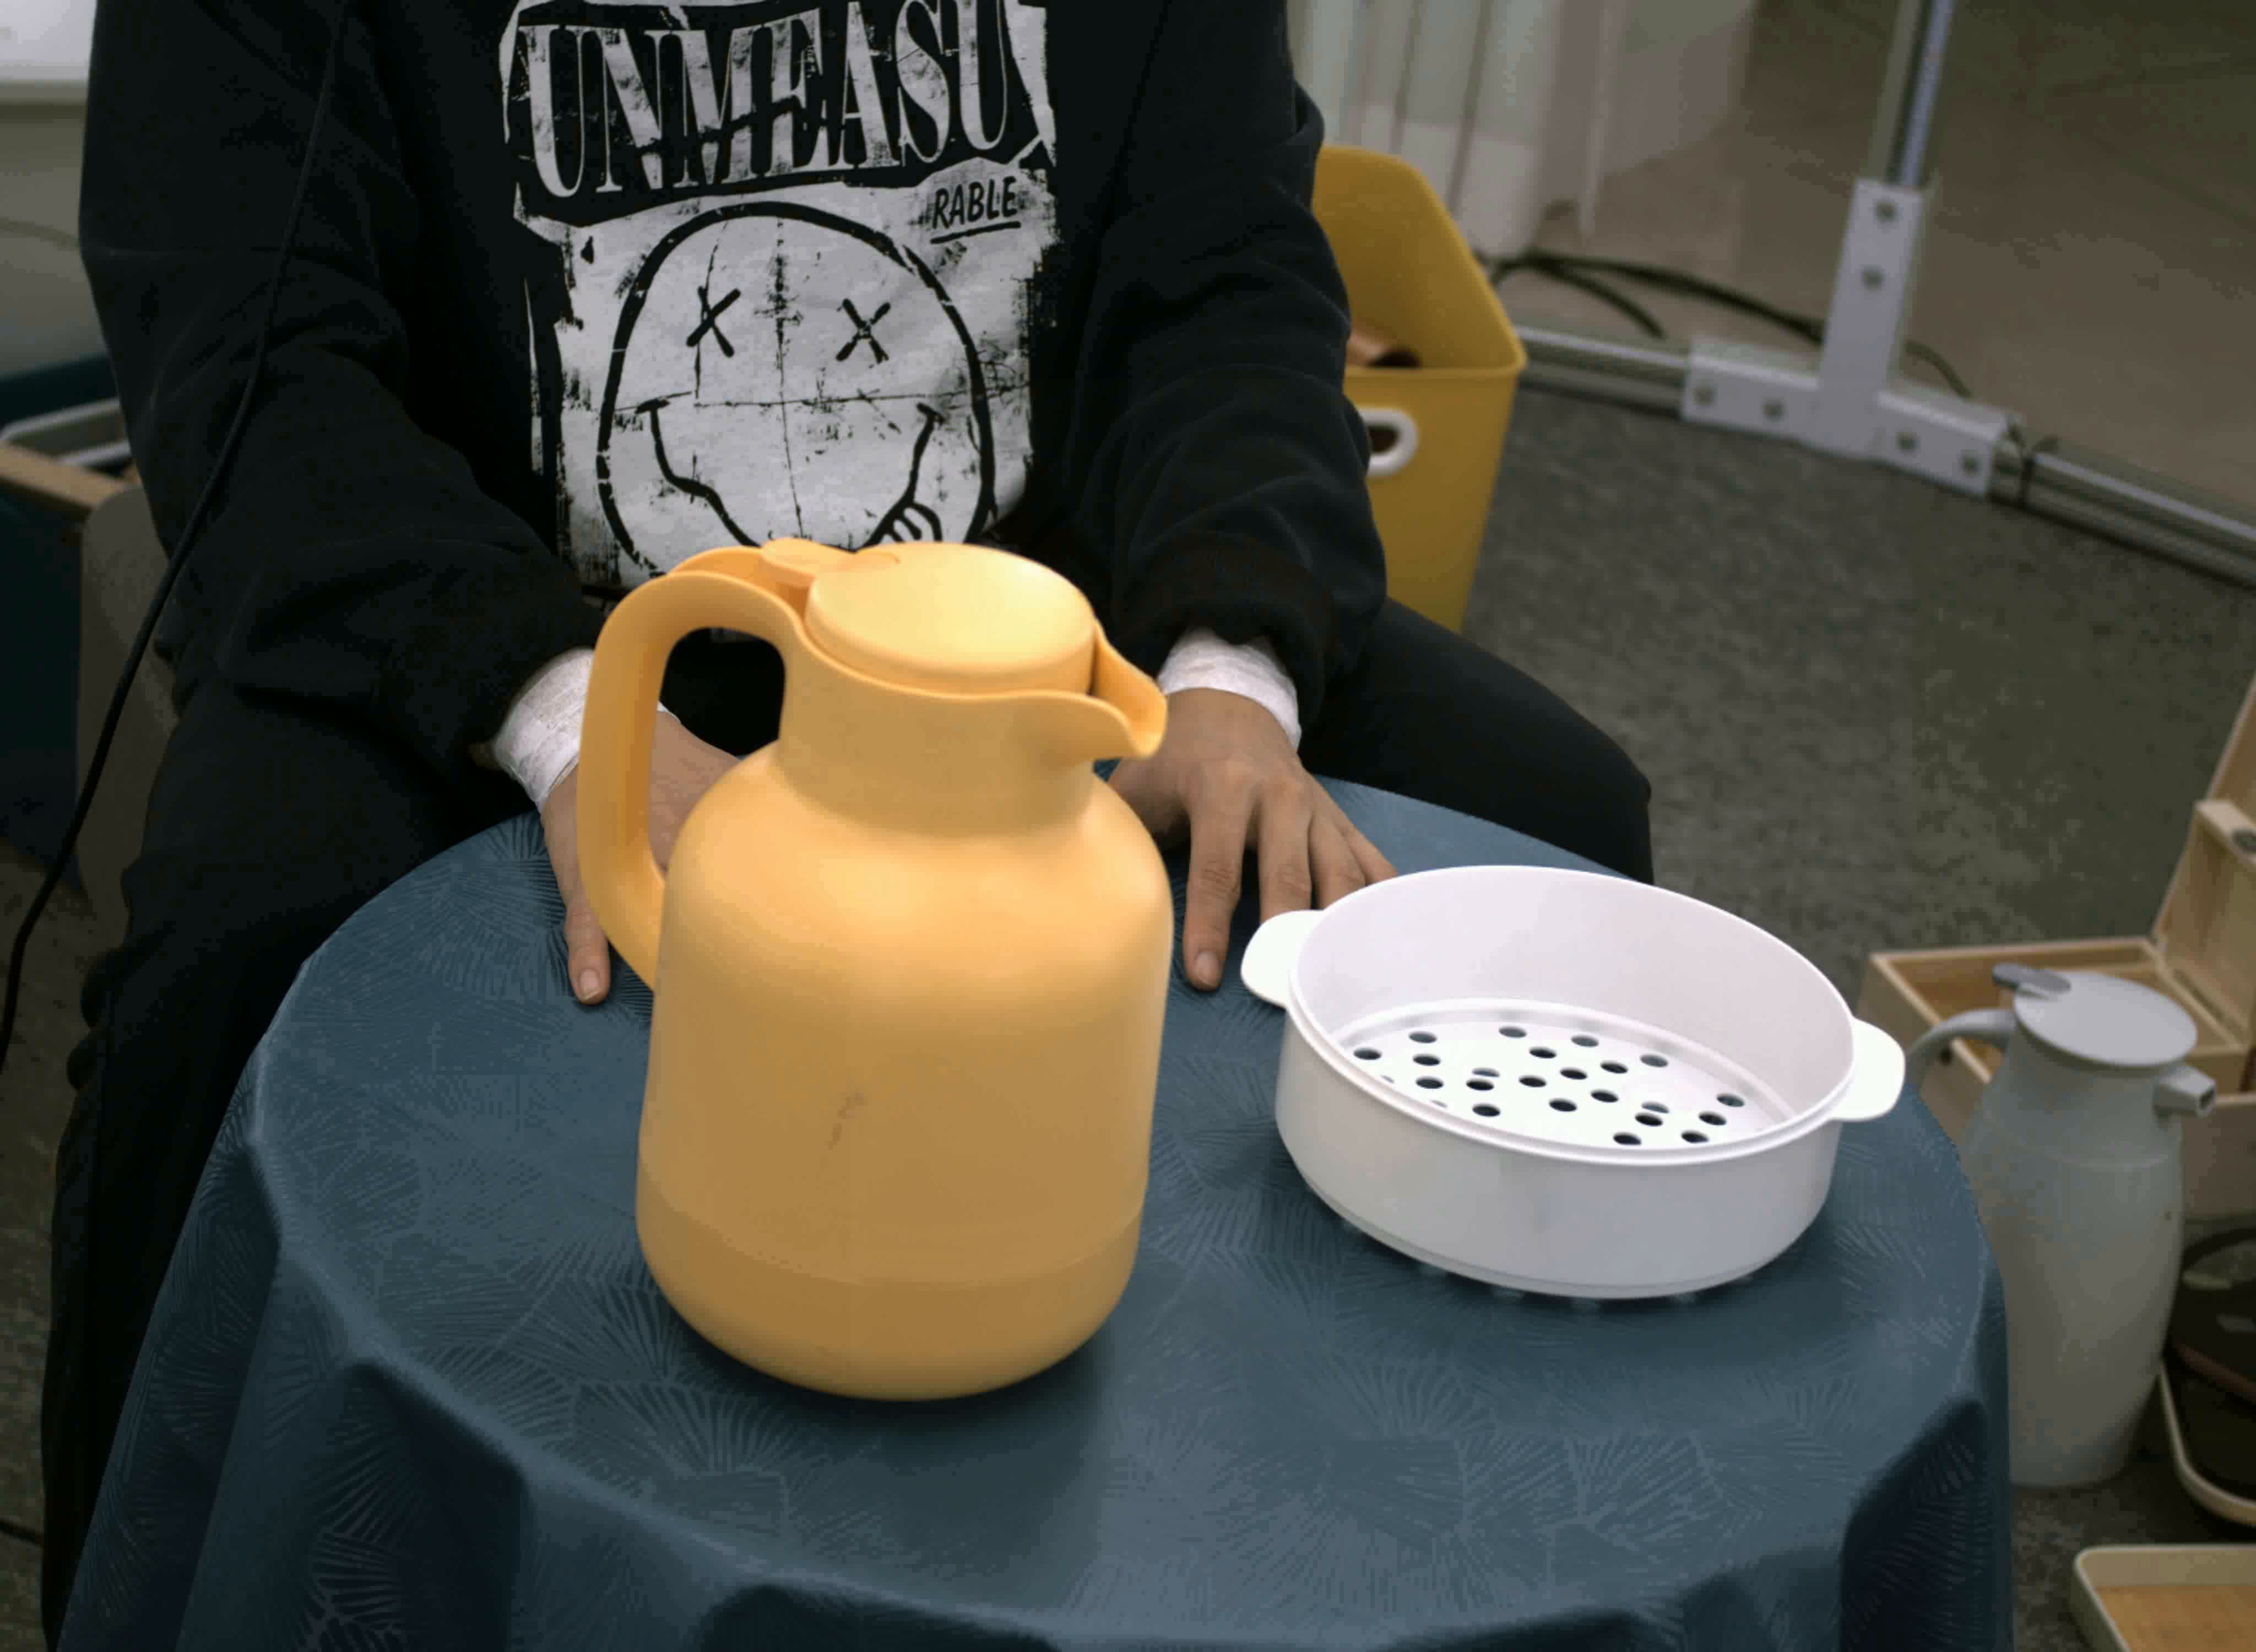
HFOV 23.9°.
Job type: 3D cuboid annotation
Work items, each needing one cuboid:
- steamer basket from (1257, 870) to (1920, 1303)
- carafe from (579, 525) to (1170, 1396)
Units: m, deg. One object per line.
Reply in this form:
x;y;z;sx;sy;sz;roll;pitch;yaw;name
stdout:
0.153;0.090;1.831;0.230;0.069;0.202;13;26;8;steamer basket
-0.085;0.032;1.678;0.203;0.260;0.163;22;28;25;carafe
